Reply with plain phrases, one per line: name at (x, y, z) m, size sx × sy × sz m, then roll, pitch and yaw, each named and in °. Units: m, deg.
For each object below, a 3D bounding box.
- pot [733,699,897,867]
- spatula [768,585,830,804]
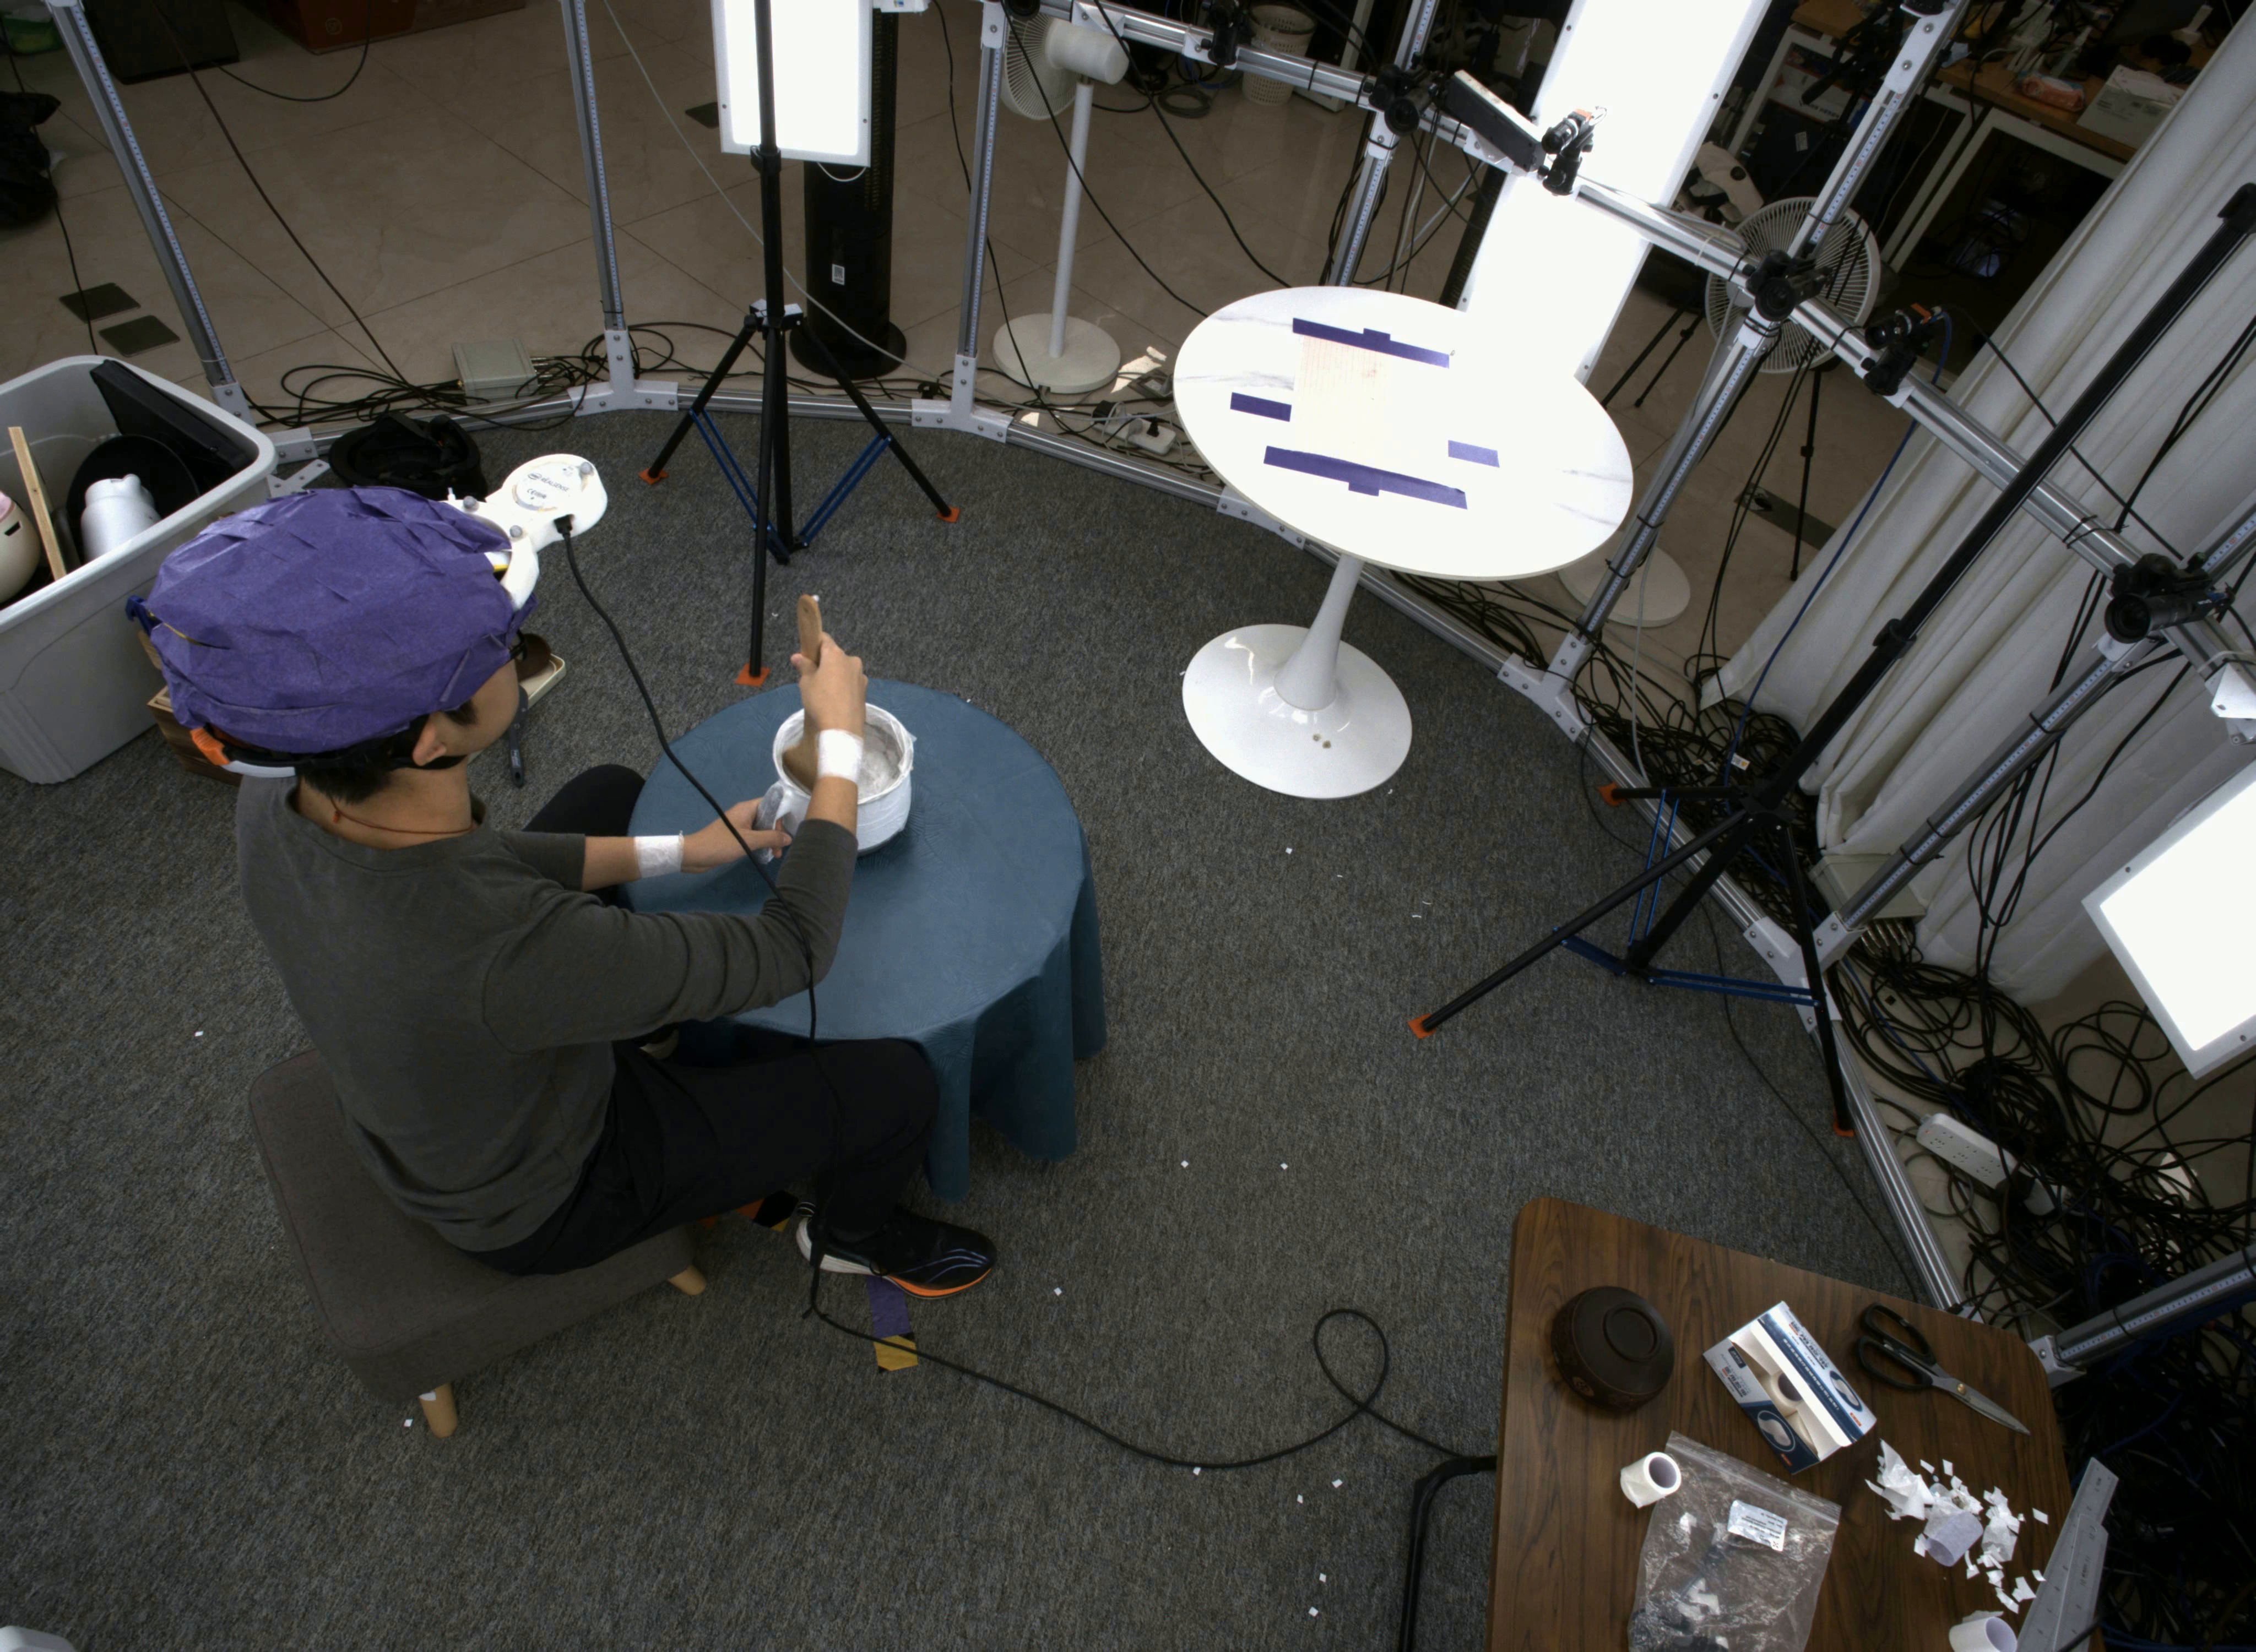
pot at (-0.411, -0.042, 1.683) m, size 0.175 × 0.139 × 0.234 m, roll 40°, pitch 56°, yaw 17°
spatula at (-0.393, -0.140, 1.526) m, size 0.094 × 0.397 × 0.018 m, roll 30°, pitch 55°, yaw 8°
